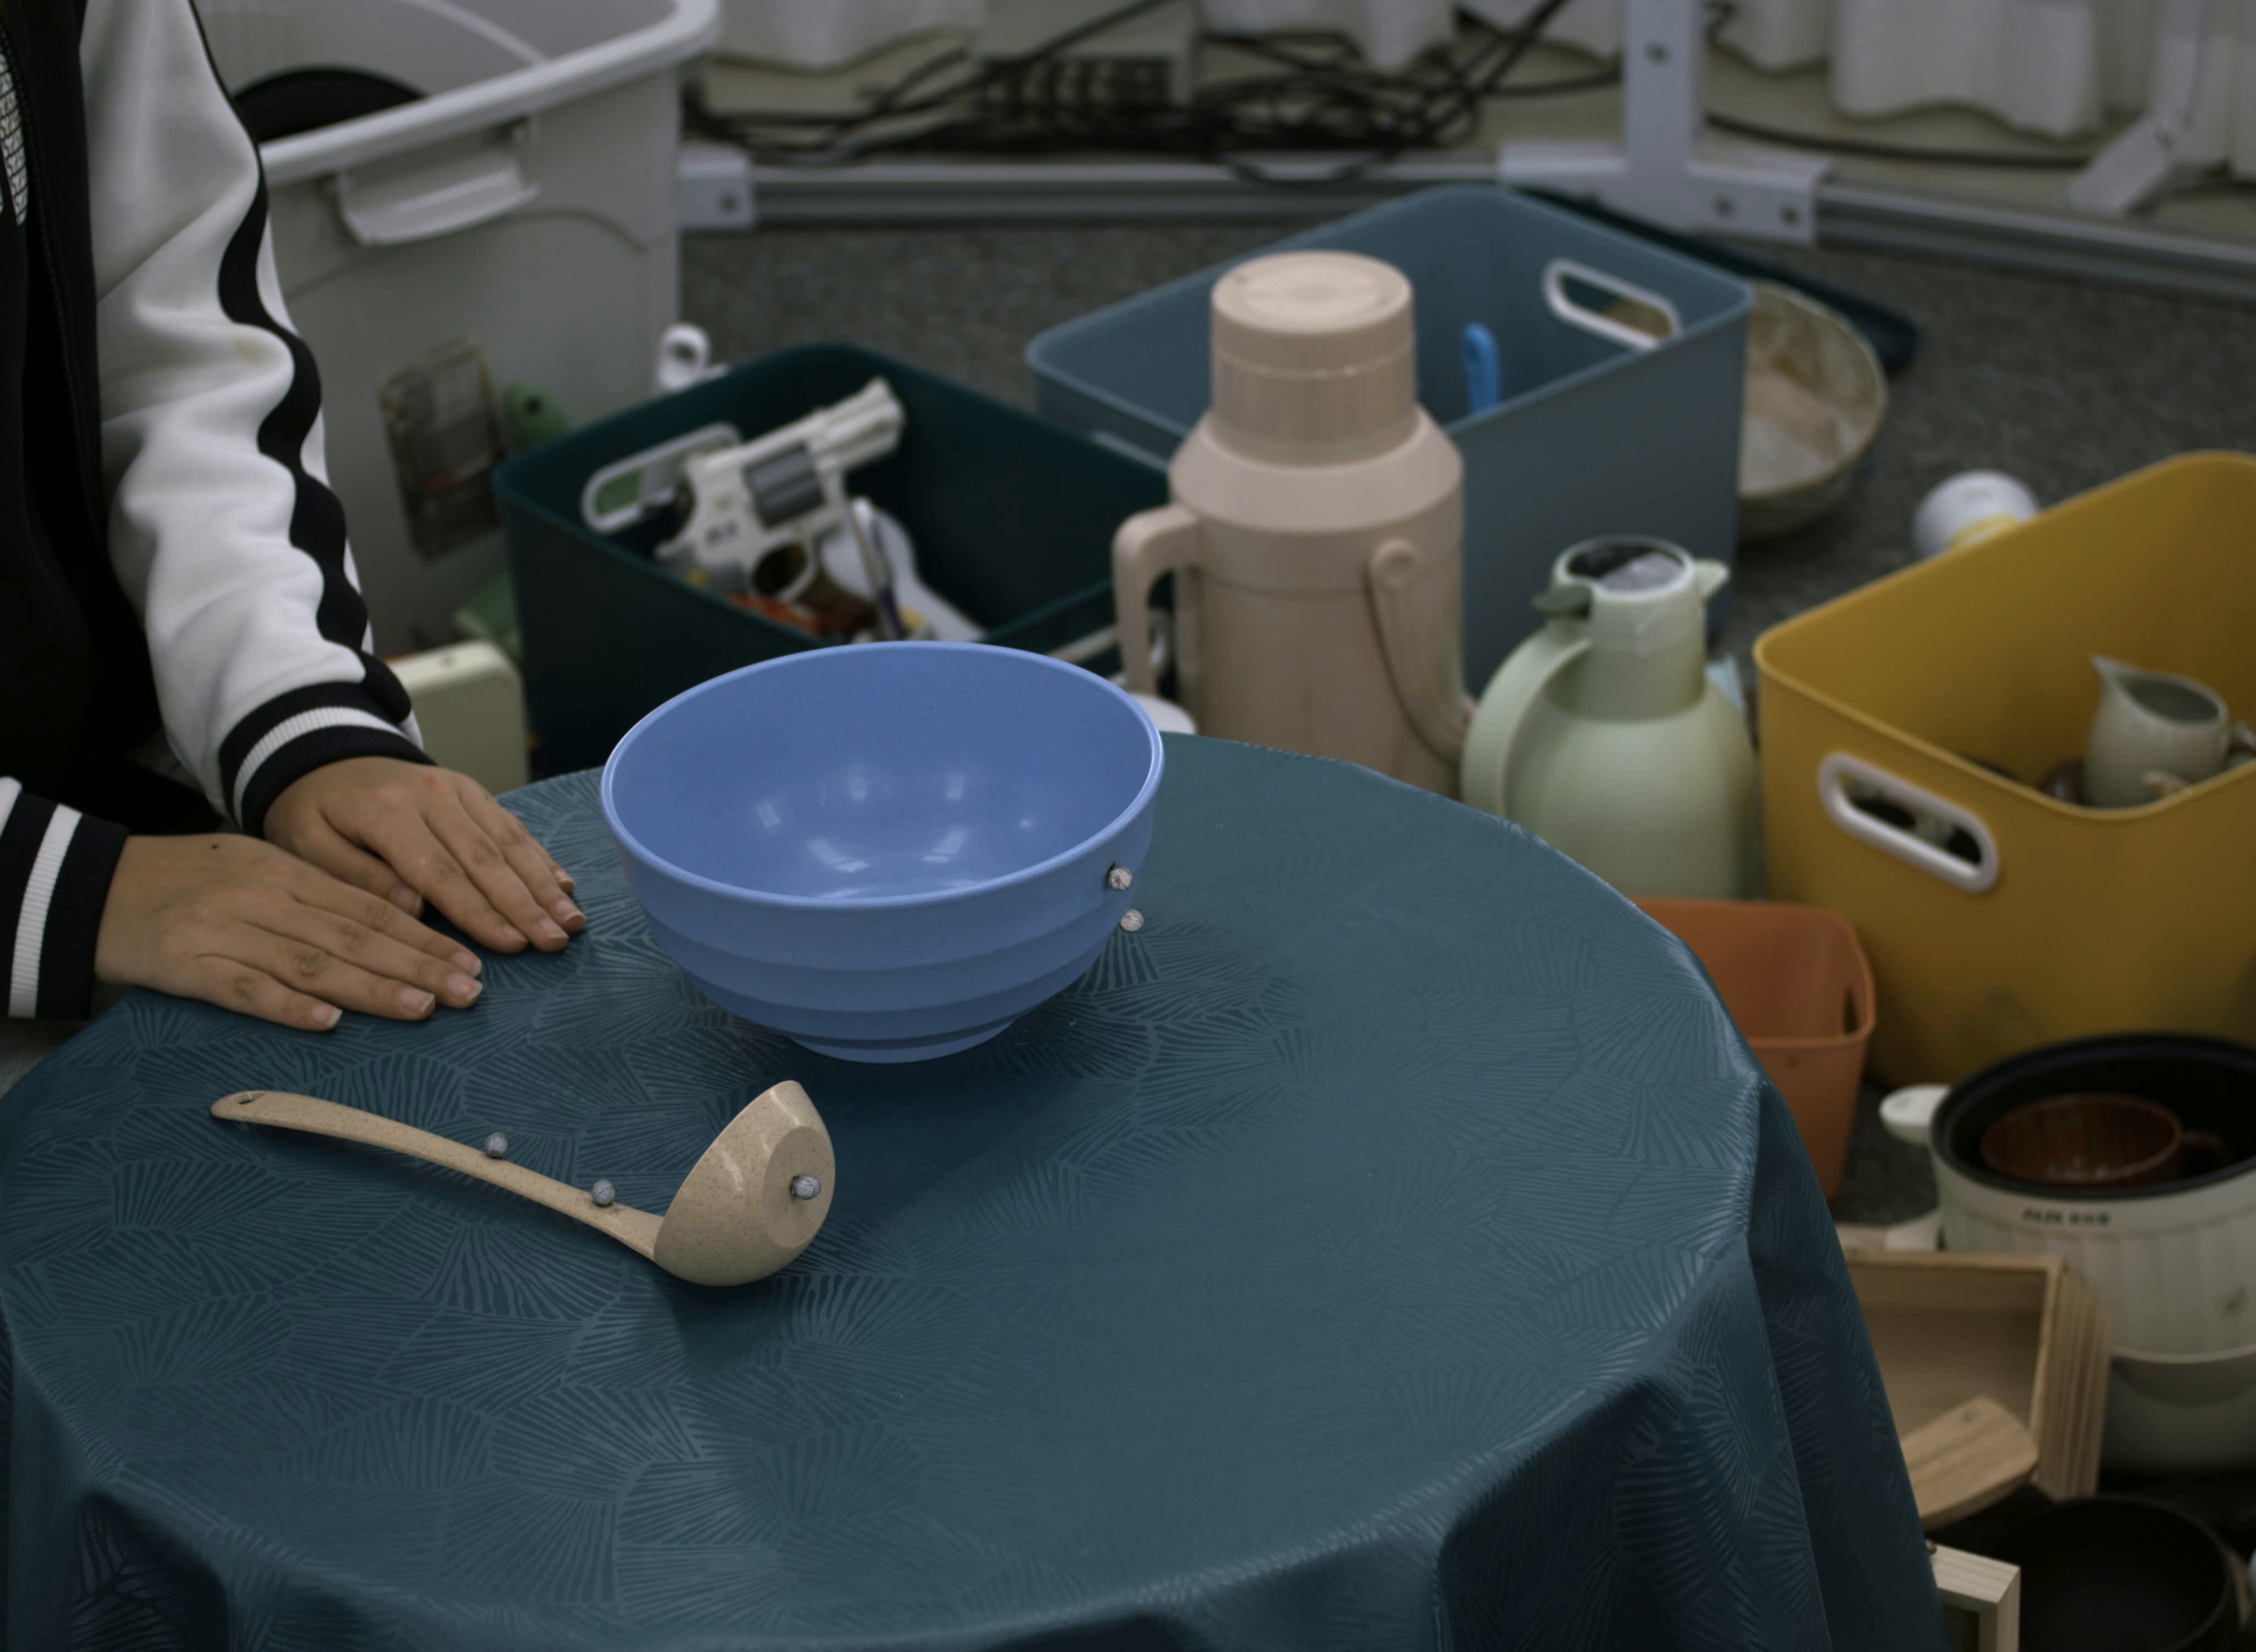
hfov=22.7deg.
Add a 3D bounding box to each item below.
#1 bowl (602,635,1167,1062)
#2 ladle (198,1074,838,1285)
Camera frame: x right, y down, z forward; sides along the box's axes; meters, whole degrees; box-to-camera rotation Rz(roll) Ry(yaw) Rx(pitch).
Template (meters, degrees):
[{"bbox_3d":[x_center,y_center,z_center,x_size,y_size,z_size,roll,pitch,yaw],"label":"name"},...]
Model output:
[{"bbox_3d":[-0.083,0.019,1.964,0.195,0.094,0.199,0,28,1],"label":"bowl"},{"bbox_3d":[-0.211,0.094,1.858,0.253,0.072,0.073,13,29,28],"label":"ladle"}]
